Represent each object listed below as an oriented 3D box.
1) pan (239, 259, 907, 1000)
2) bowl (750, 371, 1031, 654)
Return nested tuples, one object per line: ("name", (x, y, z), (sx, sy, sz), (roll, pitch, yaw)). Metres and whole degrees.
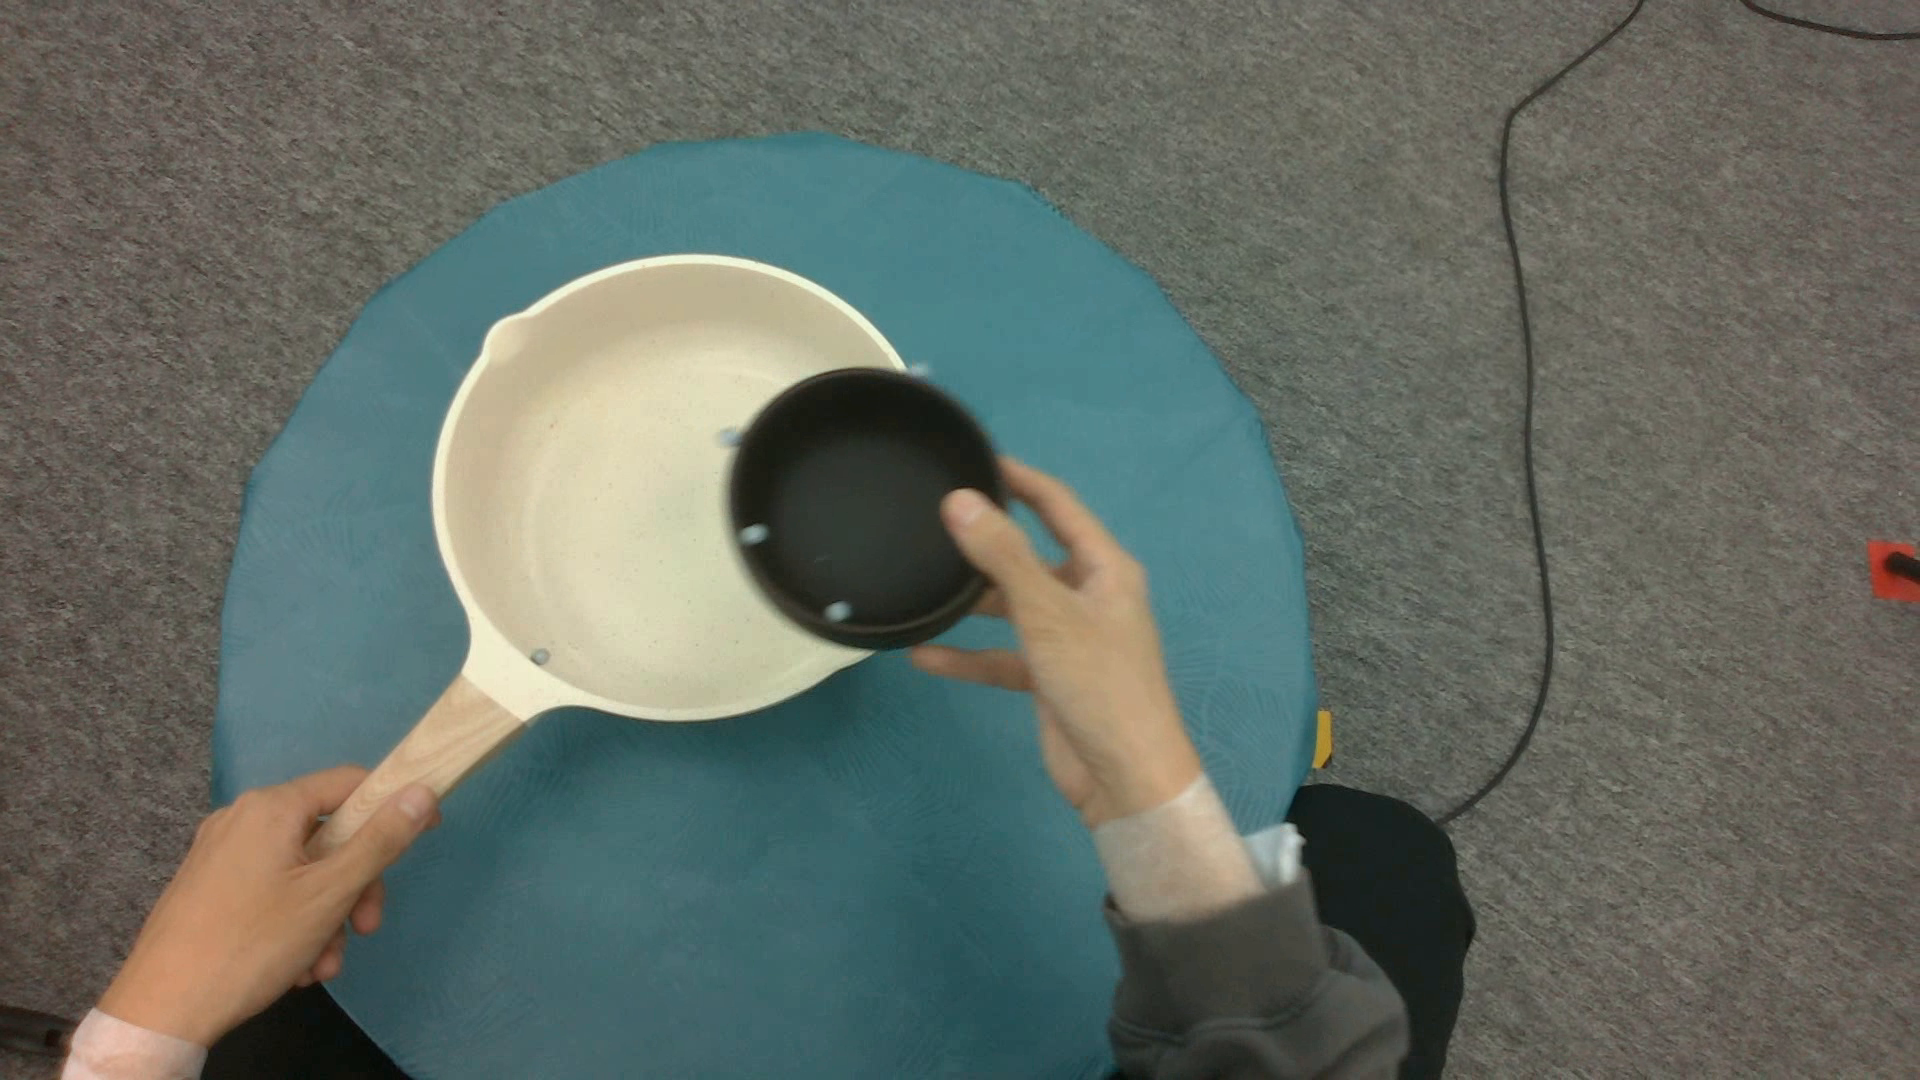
("pan", (-0.194, 0.046, 0.718), (0.263, 0.101, 0.436), (36, 74, 5))
("bowl", (-0.029, -0.007, 0.597), (0.118, 0.069, 0.118), (1, 75, -2))
